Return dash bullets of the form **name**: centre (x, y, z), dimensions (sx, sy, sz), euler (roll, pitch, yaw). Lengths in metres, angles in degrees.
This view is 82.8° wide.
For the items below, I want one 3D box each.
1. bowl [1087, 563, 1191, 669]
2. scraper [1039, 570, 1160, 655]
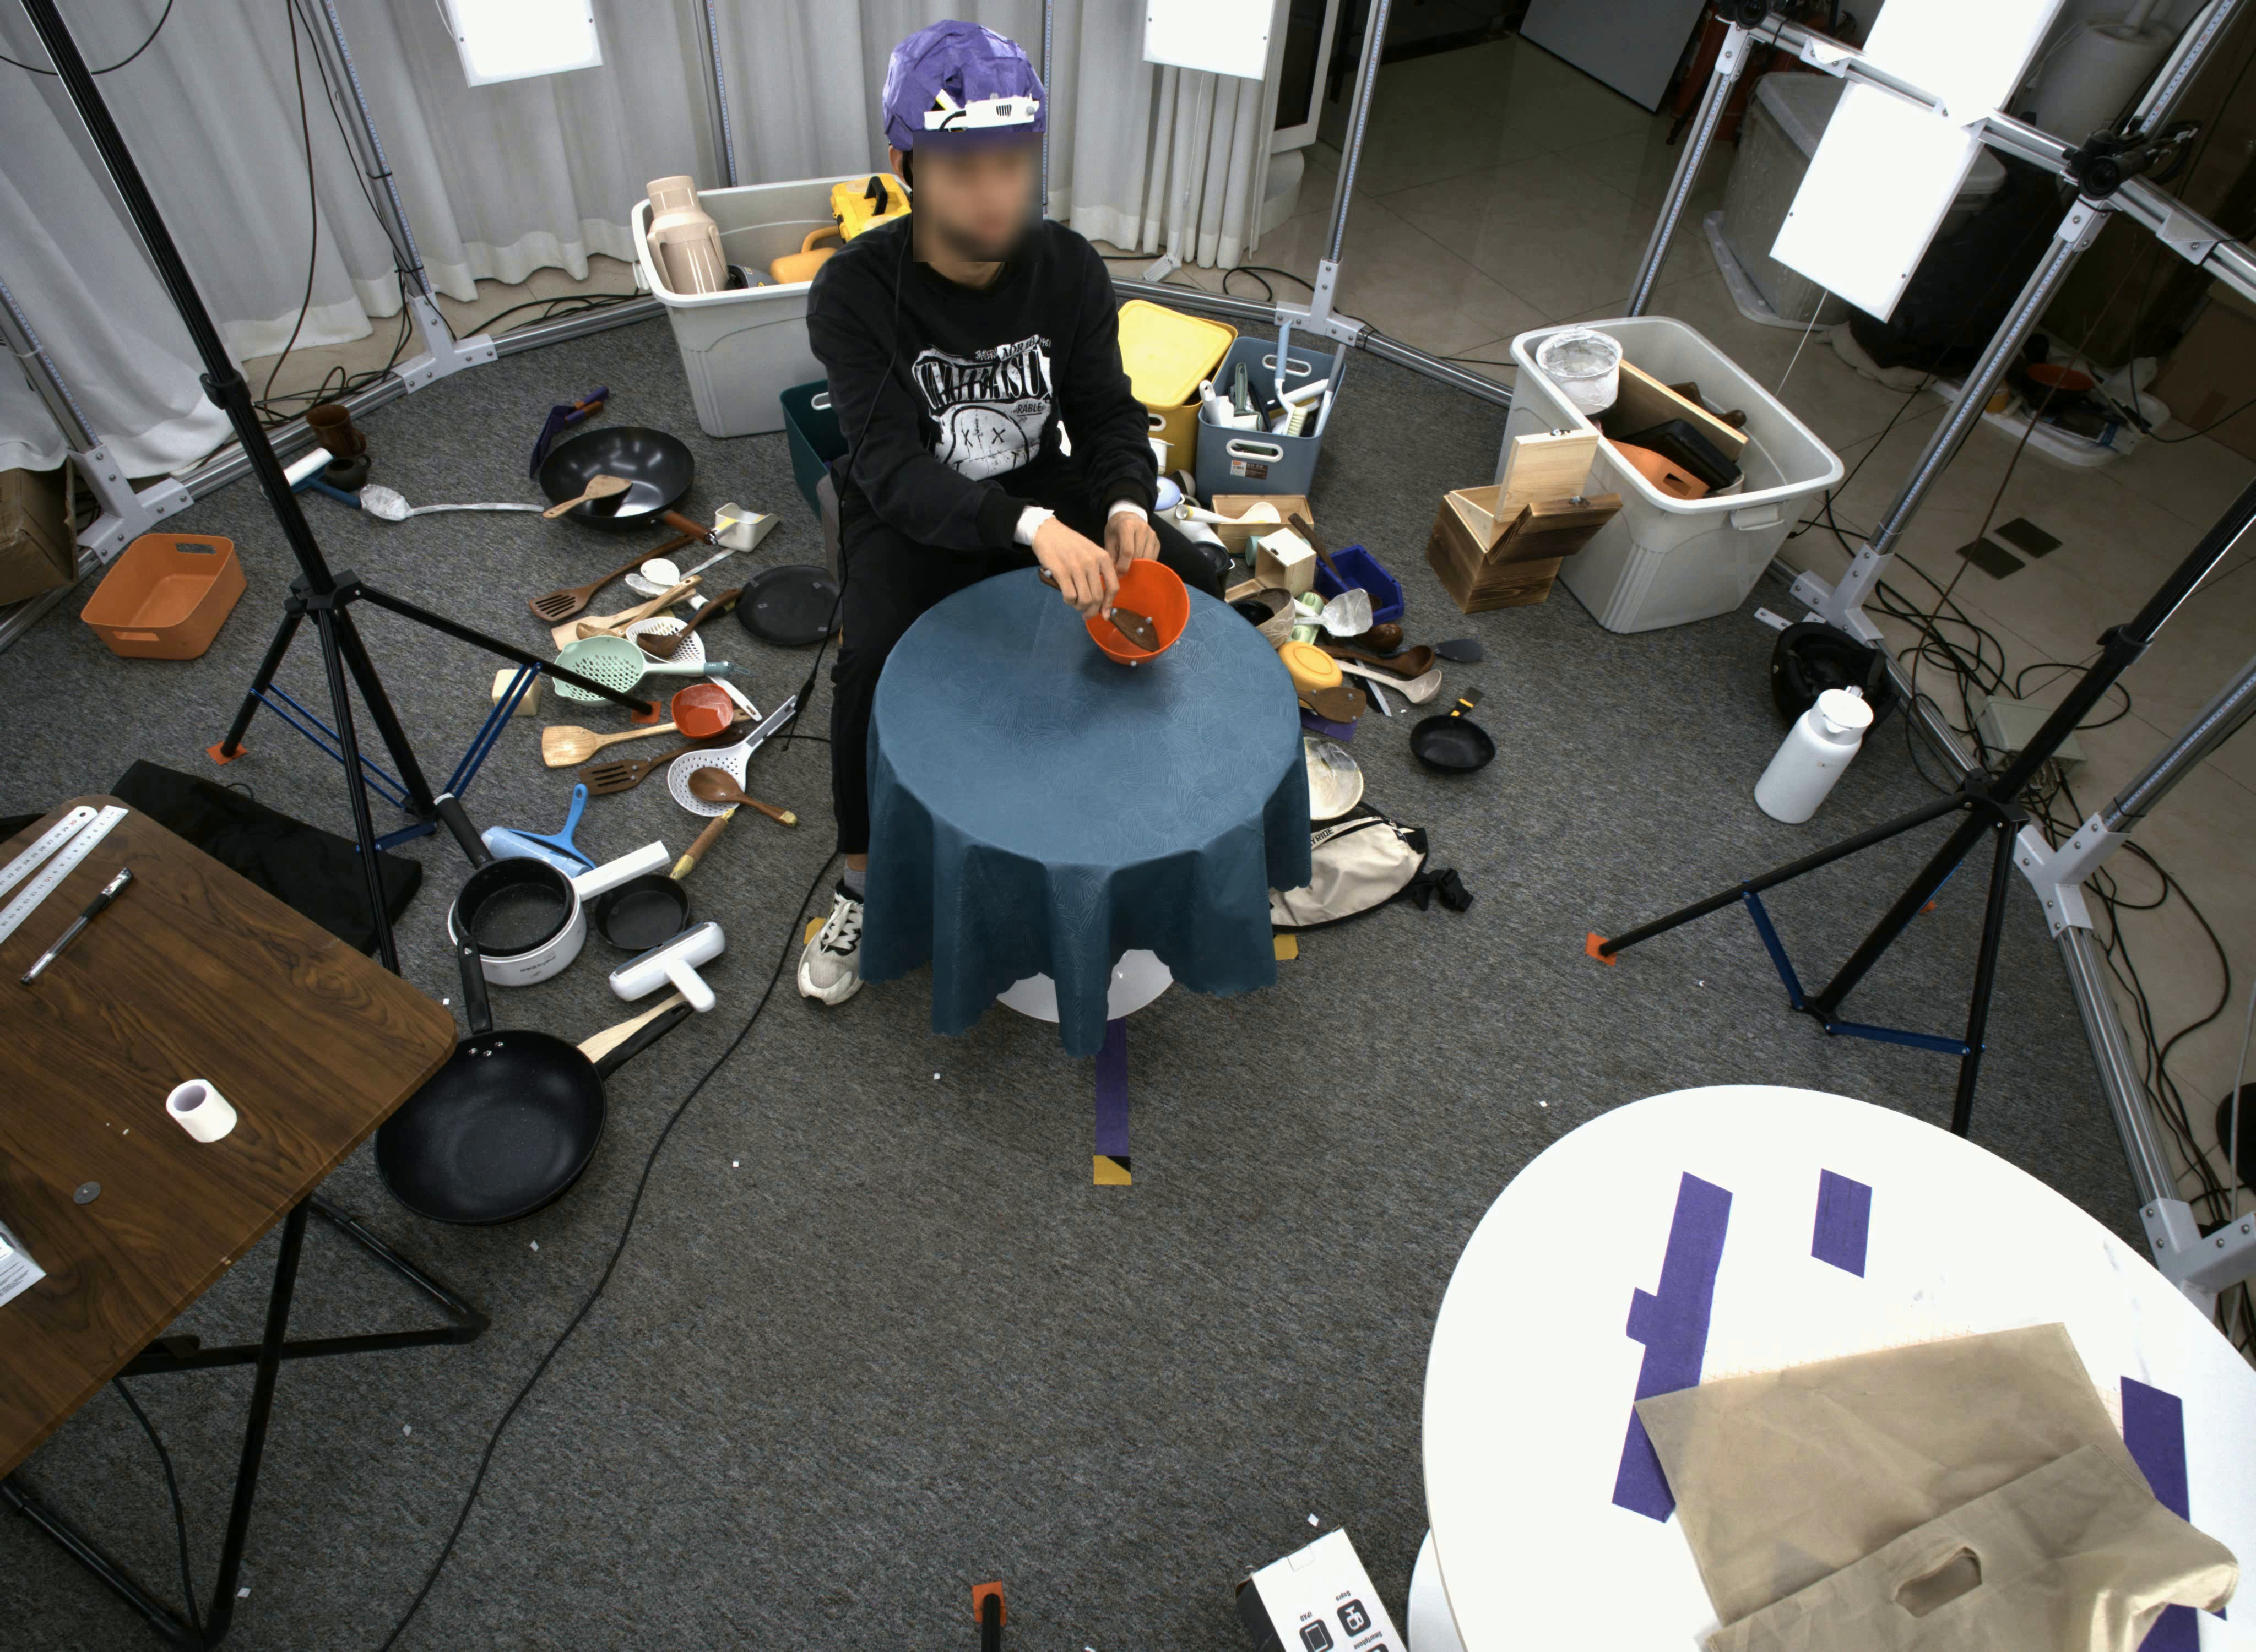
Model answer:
- **bowl**: centre (0.015, -0.290, 1.860), dimensions (0.148, 0.103, 0.151), euler (0, 68, 0)
- **scraper**: centre (-0.039, -0.301, 1.785), dimensions (0.208, 0.010, 0.078), euler (25, 38, -33)
